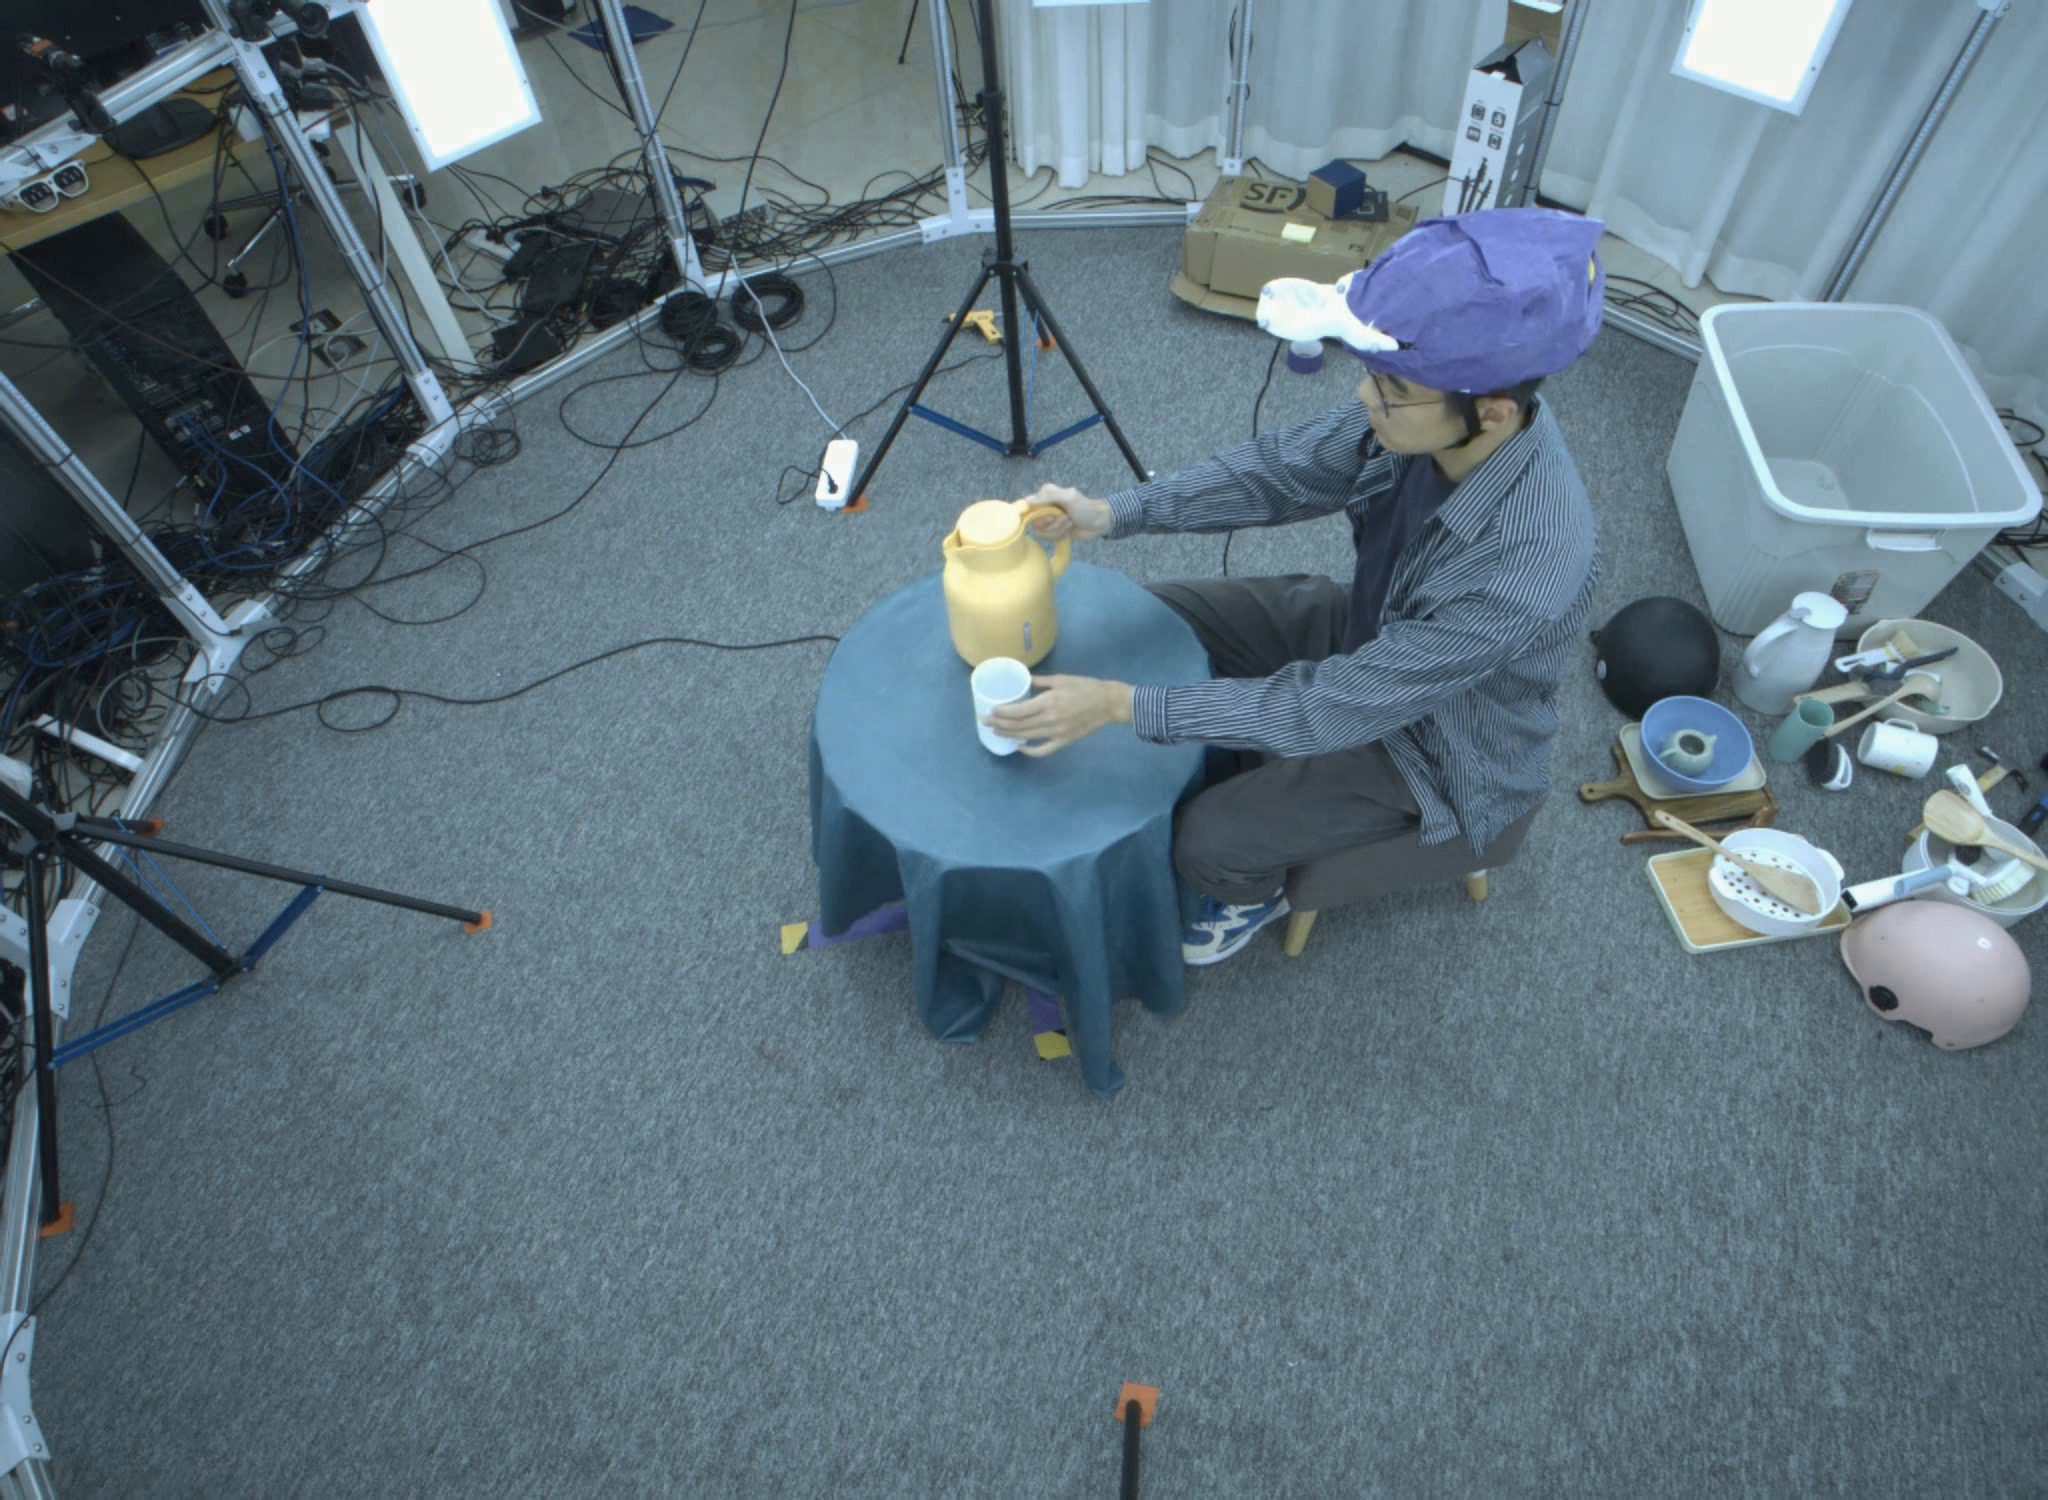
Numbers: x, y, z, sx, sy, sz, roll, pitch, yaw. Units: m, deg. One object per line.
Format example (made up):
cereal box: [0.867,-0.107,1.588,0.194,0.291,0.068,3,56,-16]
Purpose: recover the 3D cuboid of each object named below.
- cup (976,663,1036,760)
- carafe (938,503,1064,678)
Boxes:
cup: [-0.024,-0.051,1.727,0.082,0.126,0.081,1,53,0]
carafe: [-0.027,-0.242,1.801,0.204,0.263,0.160,-31,57,-17]
